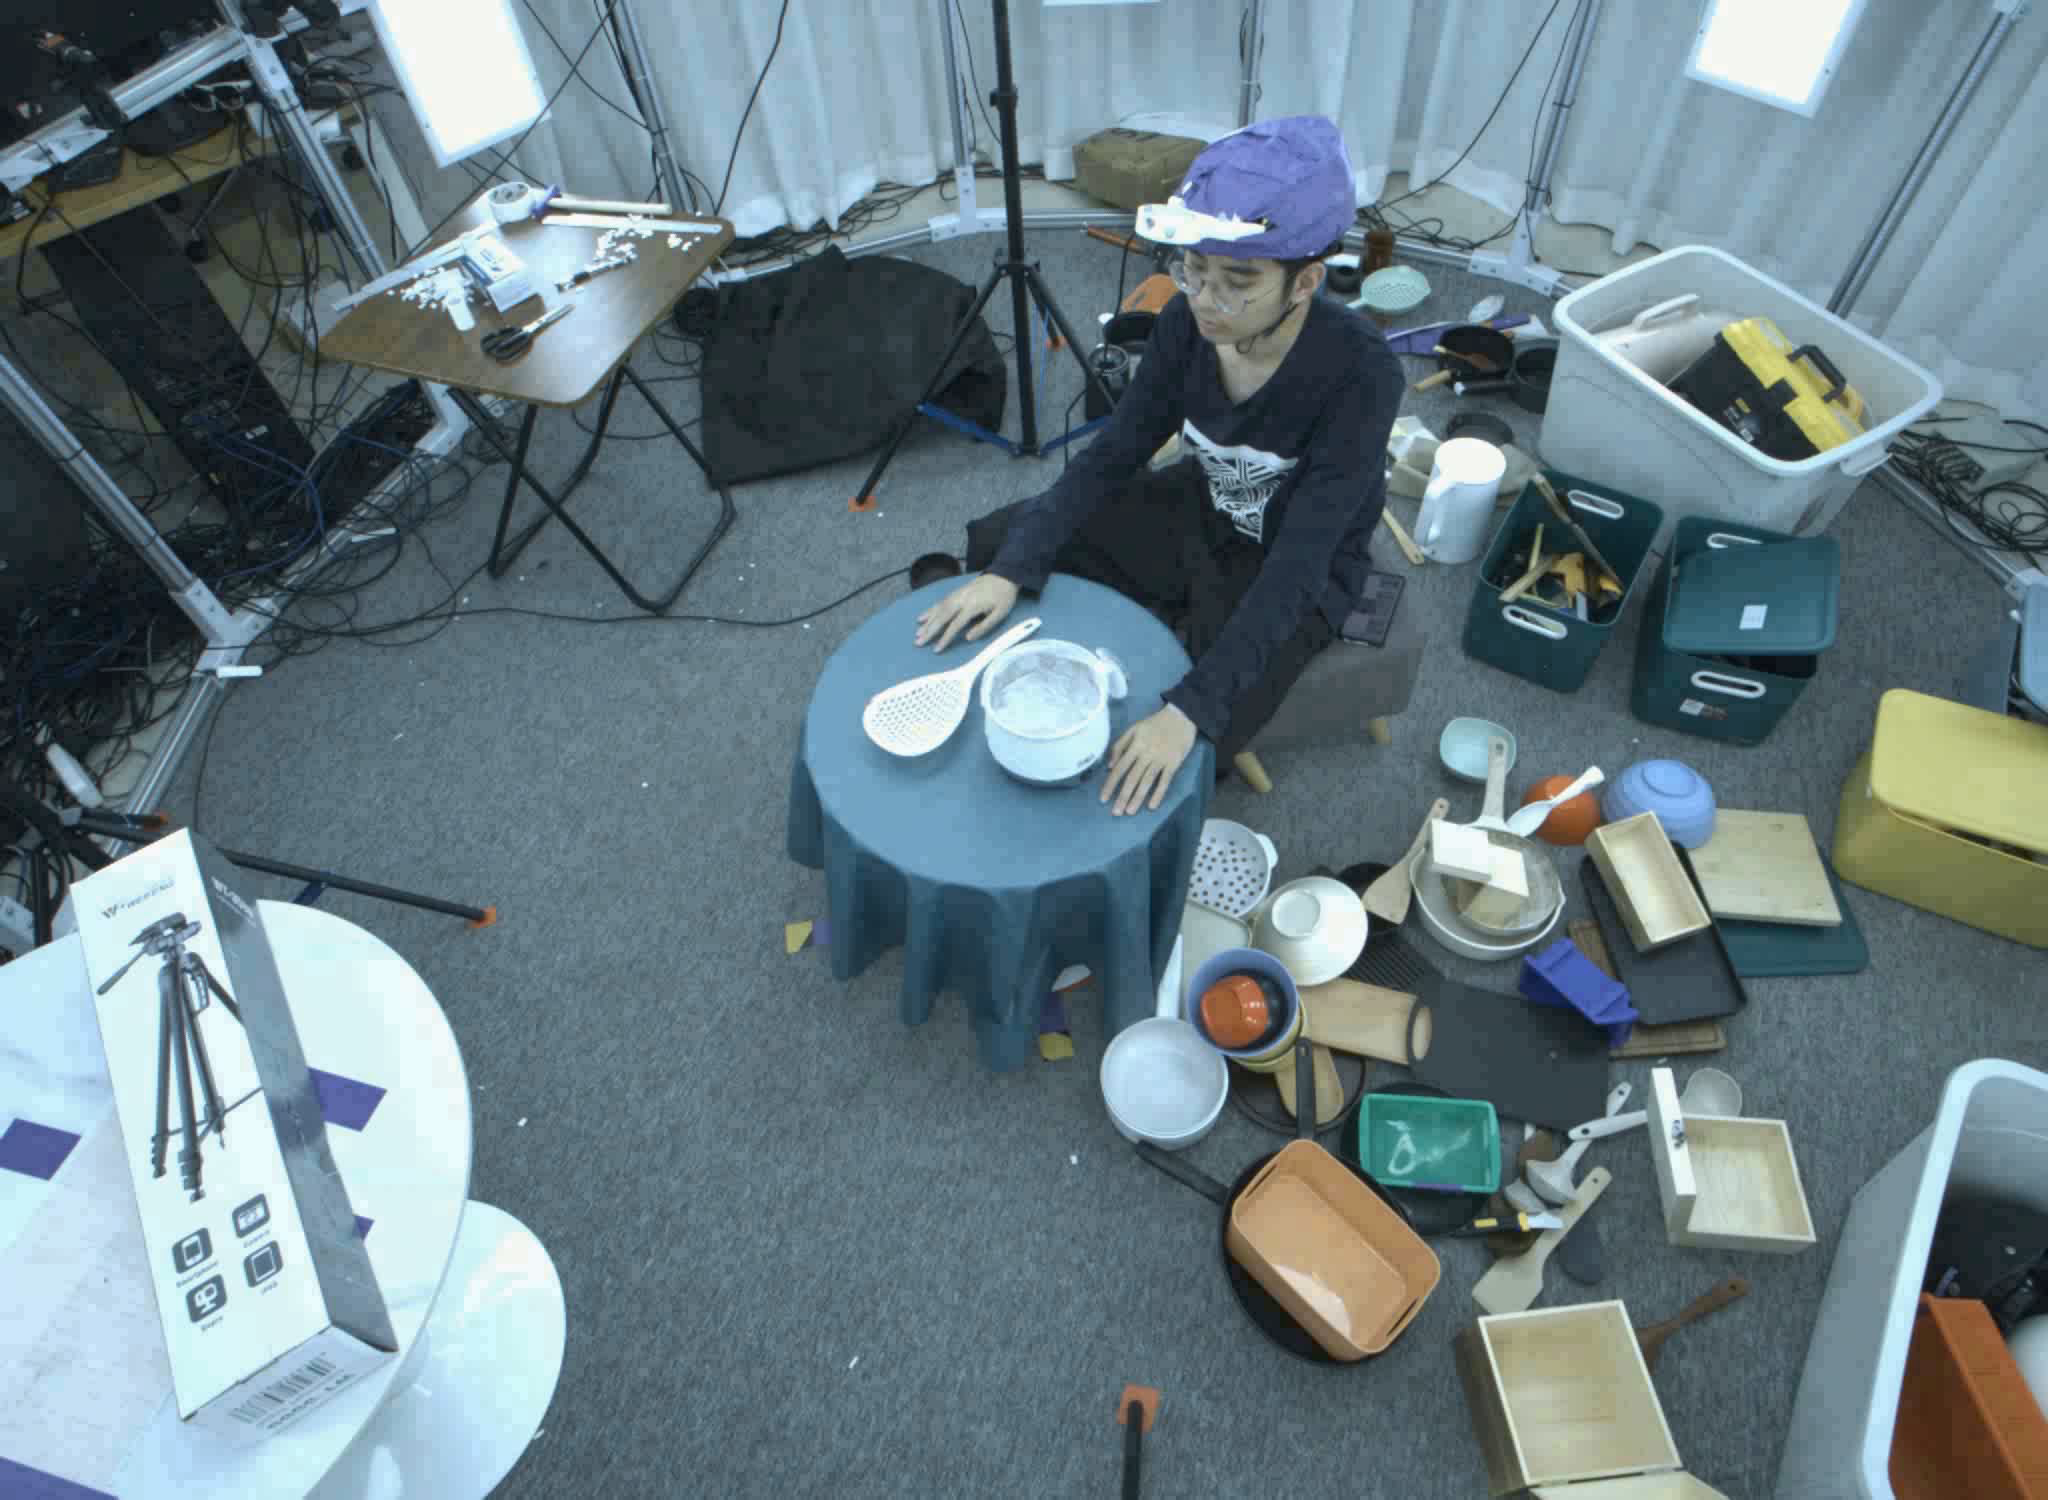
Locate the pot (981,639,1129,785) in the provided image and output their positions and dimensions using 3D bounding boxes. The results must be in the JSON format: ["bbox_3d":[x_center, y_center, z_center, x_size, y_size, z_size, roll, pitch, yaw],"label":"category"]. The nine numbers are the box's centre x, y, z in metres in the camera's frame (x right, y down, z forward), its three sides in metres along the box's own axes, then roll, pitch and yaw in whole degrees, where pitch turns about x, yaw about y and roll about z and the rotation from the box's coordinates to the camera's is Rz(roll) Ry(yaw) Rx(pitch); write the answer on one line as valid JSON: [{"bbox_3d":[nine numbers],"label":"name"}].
[{"bbox_3d":[0.053,-0.064,1.755,0.235,0.138,0.175,-35,62,-20],"label":"pot"}]

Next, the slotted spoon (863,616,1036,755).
[{"bbox_3d":[-0.093,-0.108,1.847,0.134,0.051,0.350,33,63,24],"label":"slotted spoon"}]
